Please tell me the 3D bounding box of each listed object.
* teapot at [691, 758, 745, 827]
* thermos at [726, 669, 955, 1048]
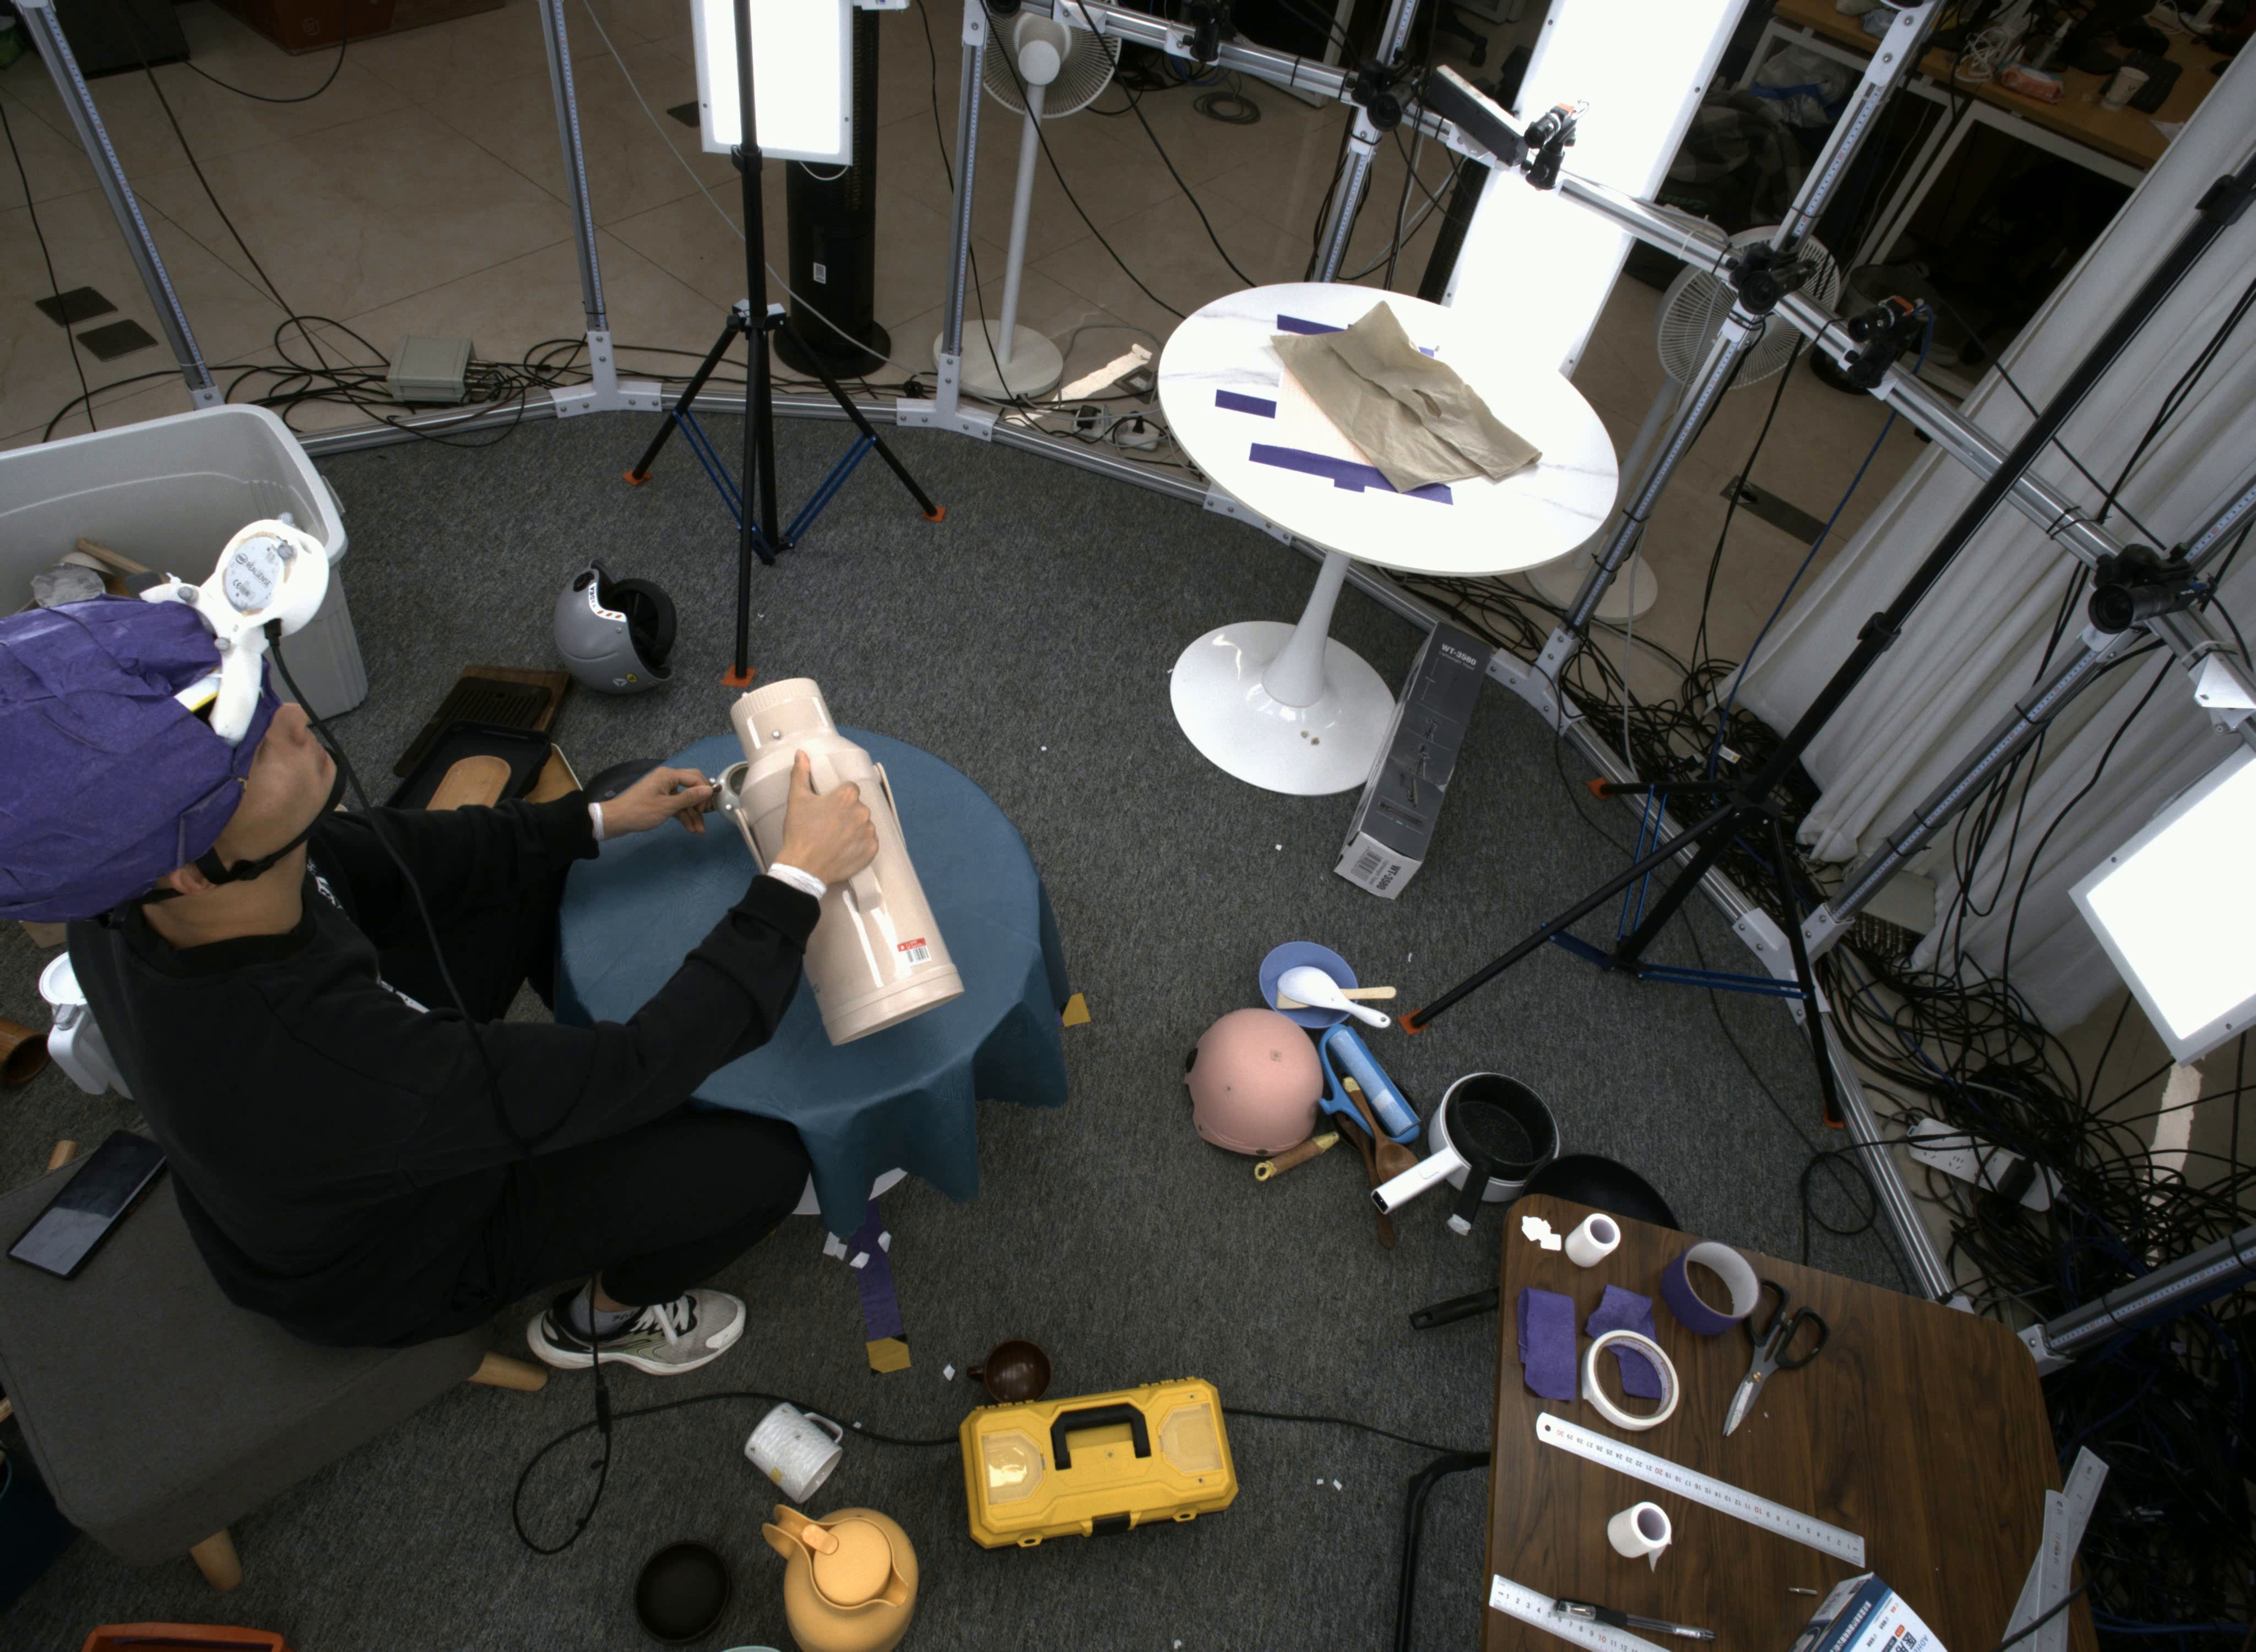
[{"bbox_3d":[-0.492,-0.042,1.645,0.129,0.060,0.090,-11,62,-27],"label":"teapot"},{"bbox_3d":[-0.334,0.028,1.452,0.176,0.205,0.408,-19,86,-23],"label":"thermos"}]
